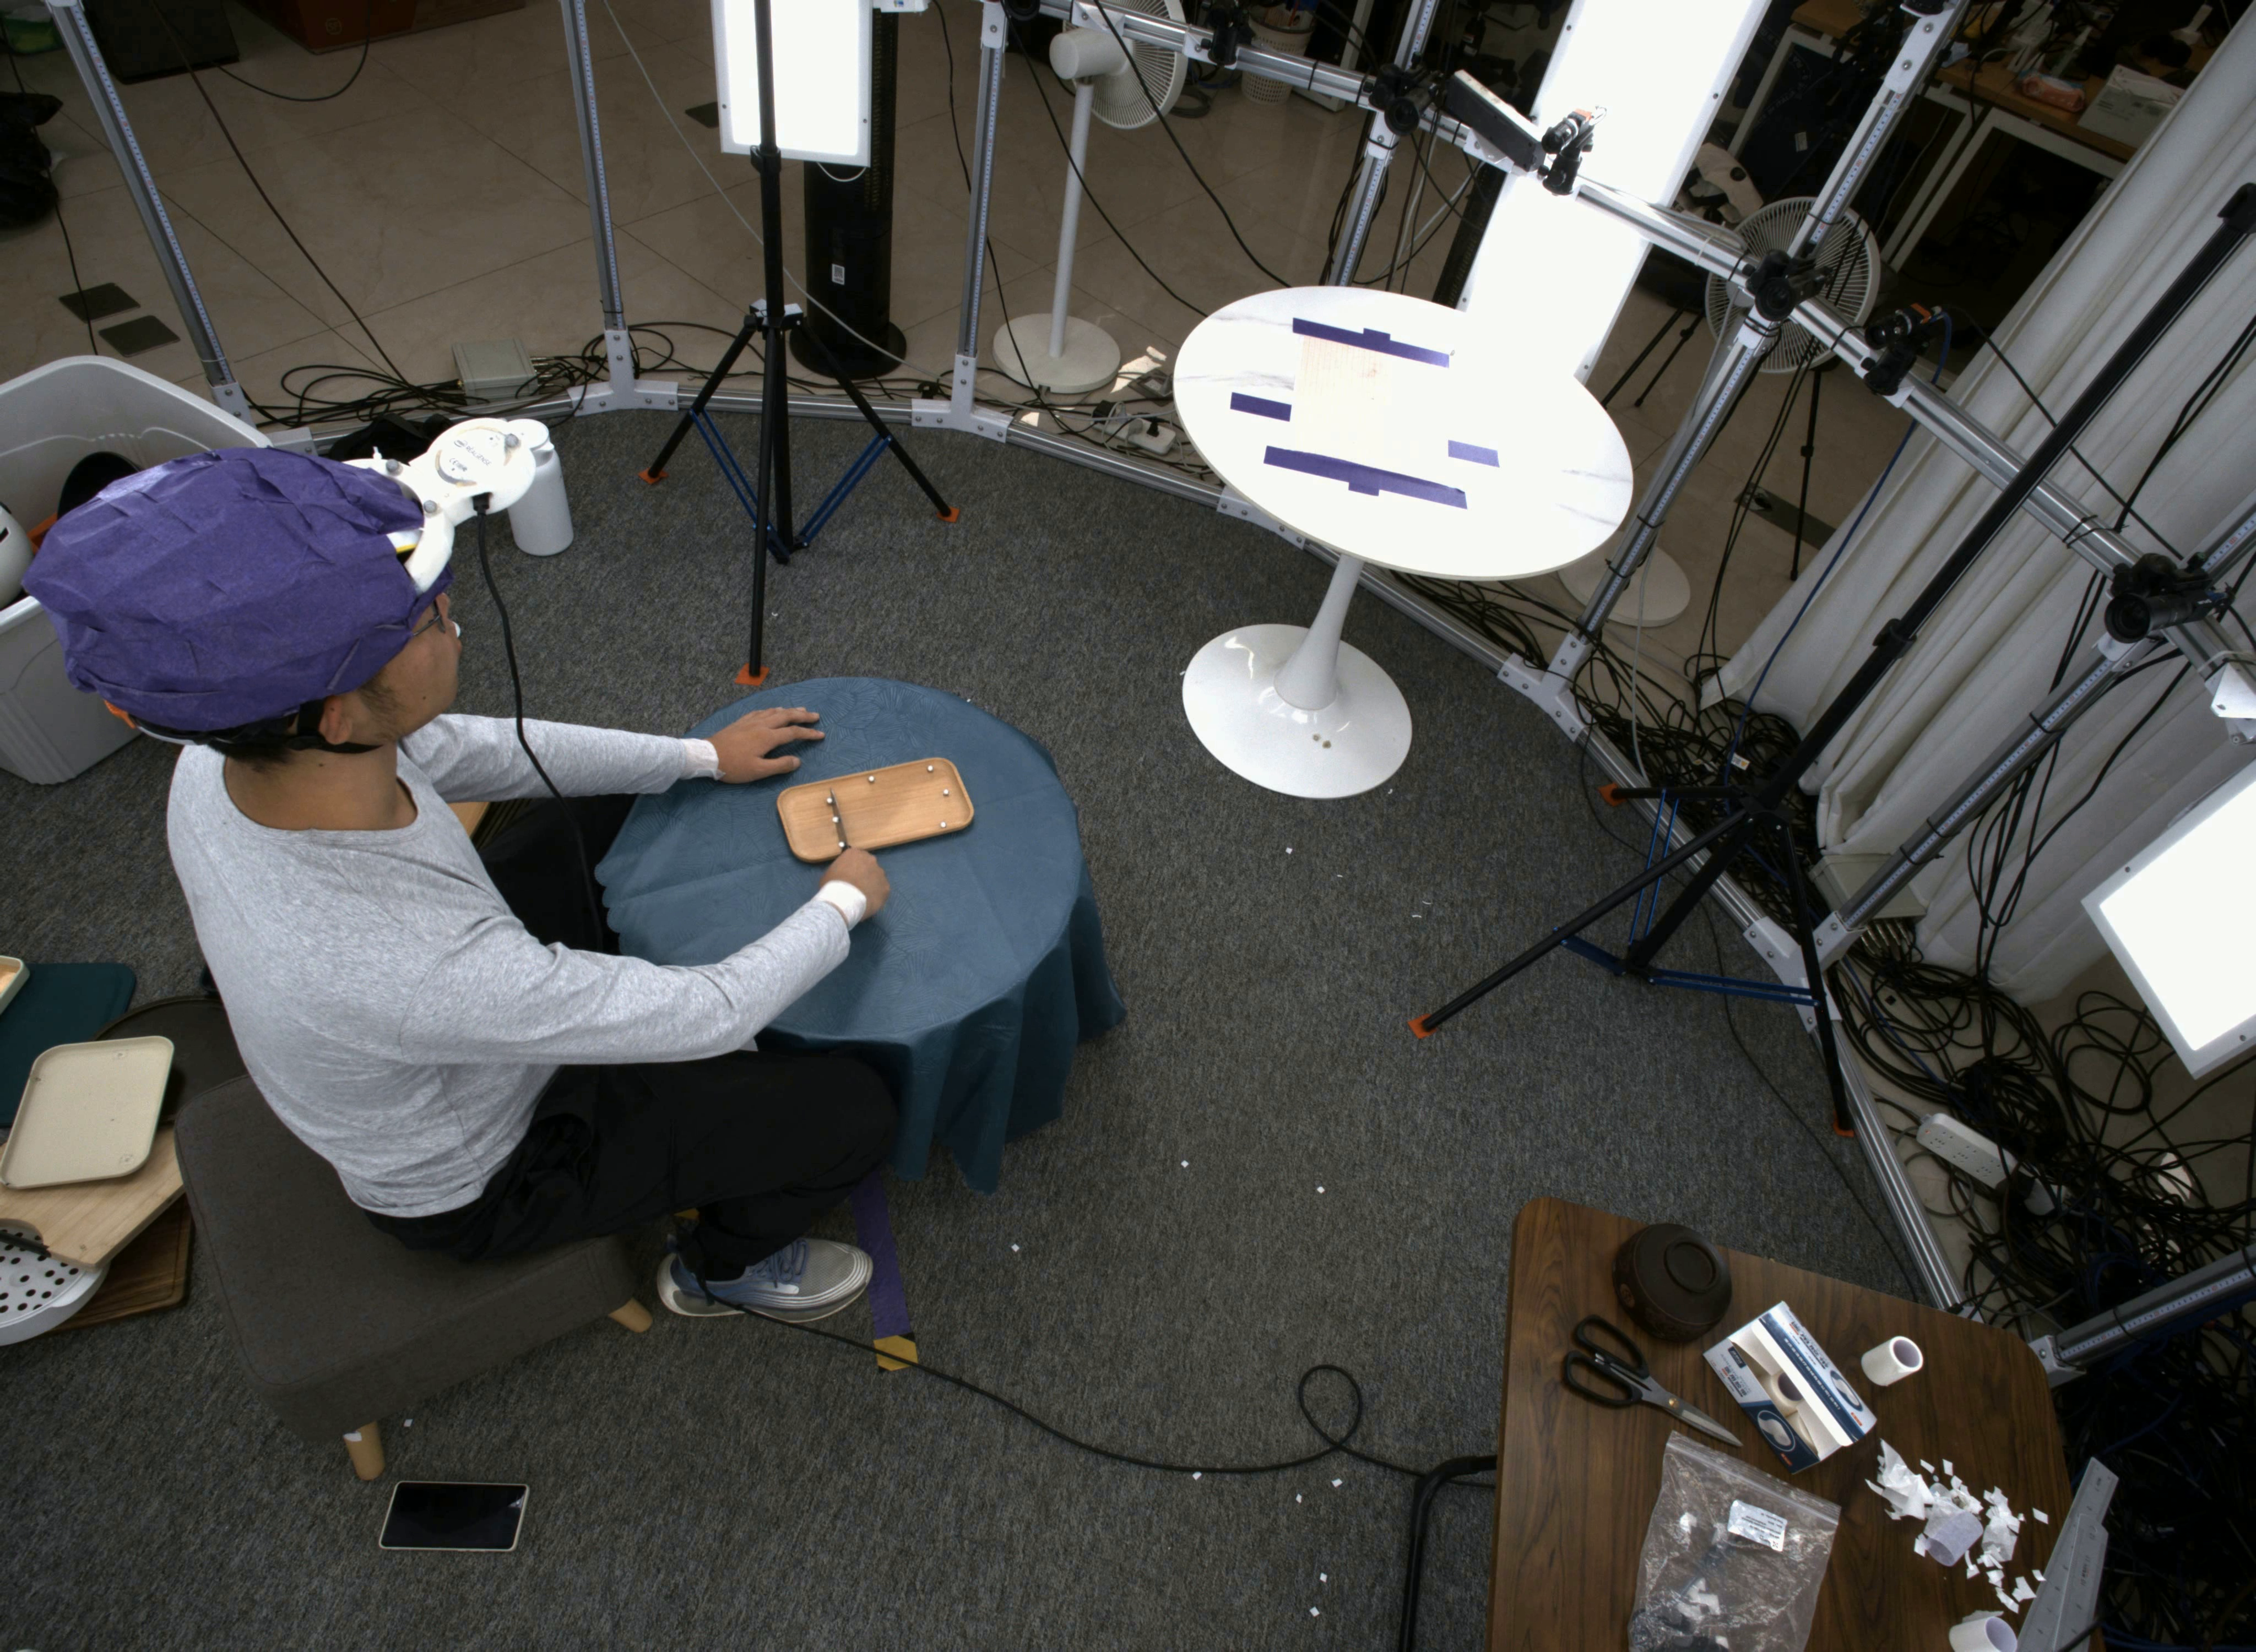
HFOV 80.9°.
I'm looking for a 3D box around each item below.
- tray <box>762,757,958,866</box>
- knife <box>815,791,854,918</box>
[{"bbox_3d":[-0.361,-0.021,1.757,0.252,0.023,0.127,-14,56,-22],"label":"tray"},{"bbox_3d":[-0.385,0.028,1.686,0.016,0.025,0.231,2,42,-29],"label":"knife"}]
